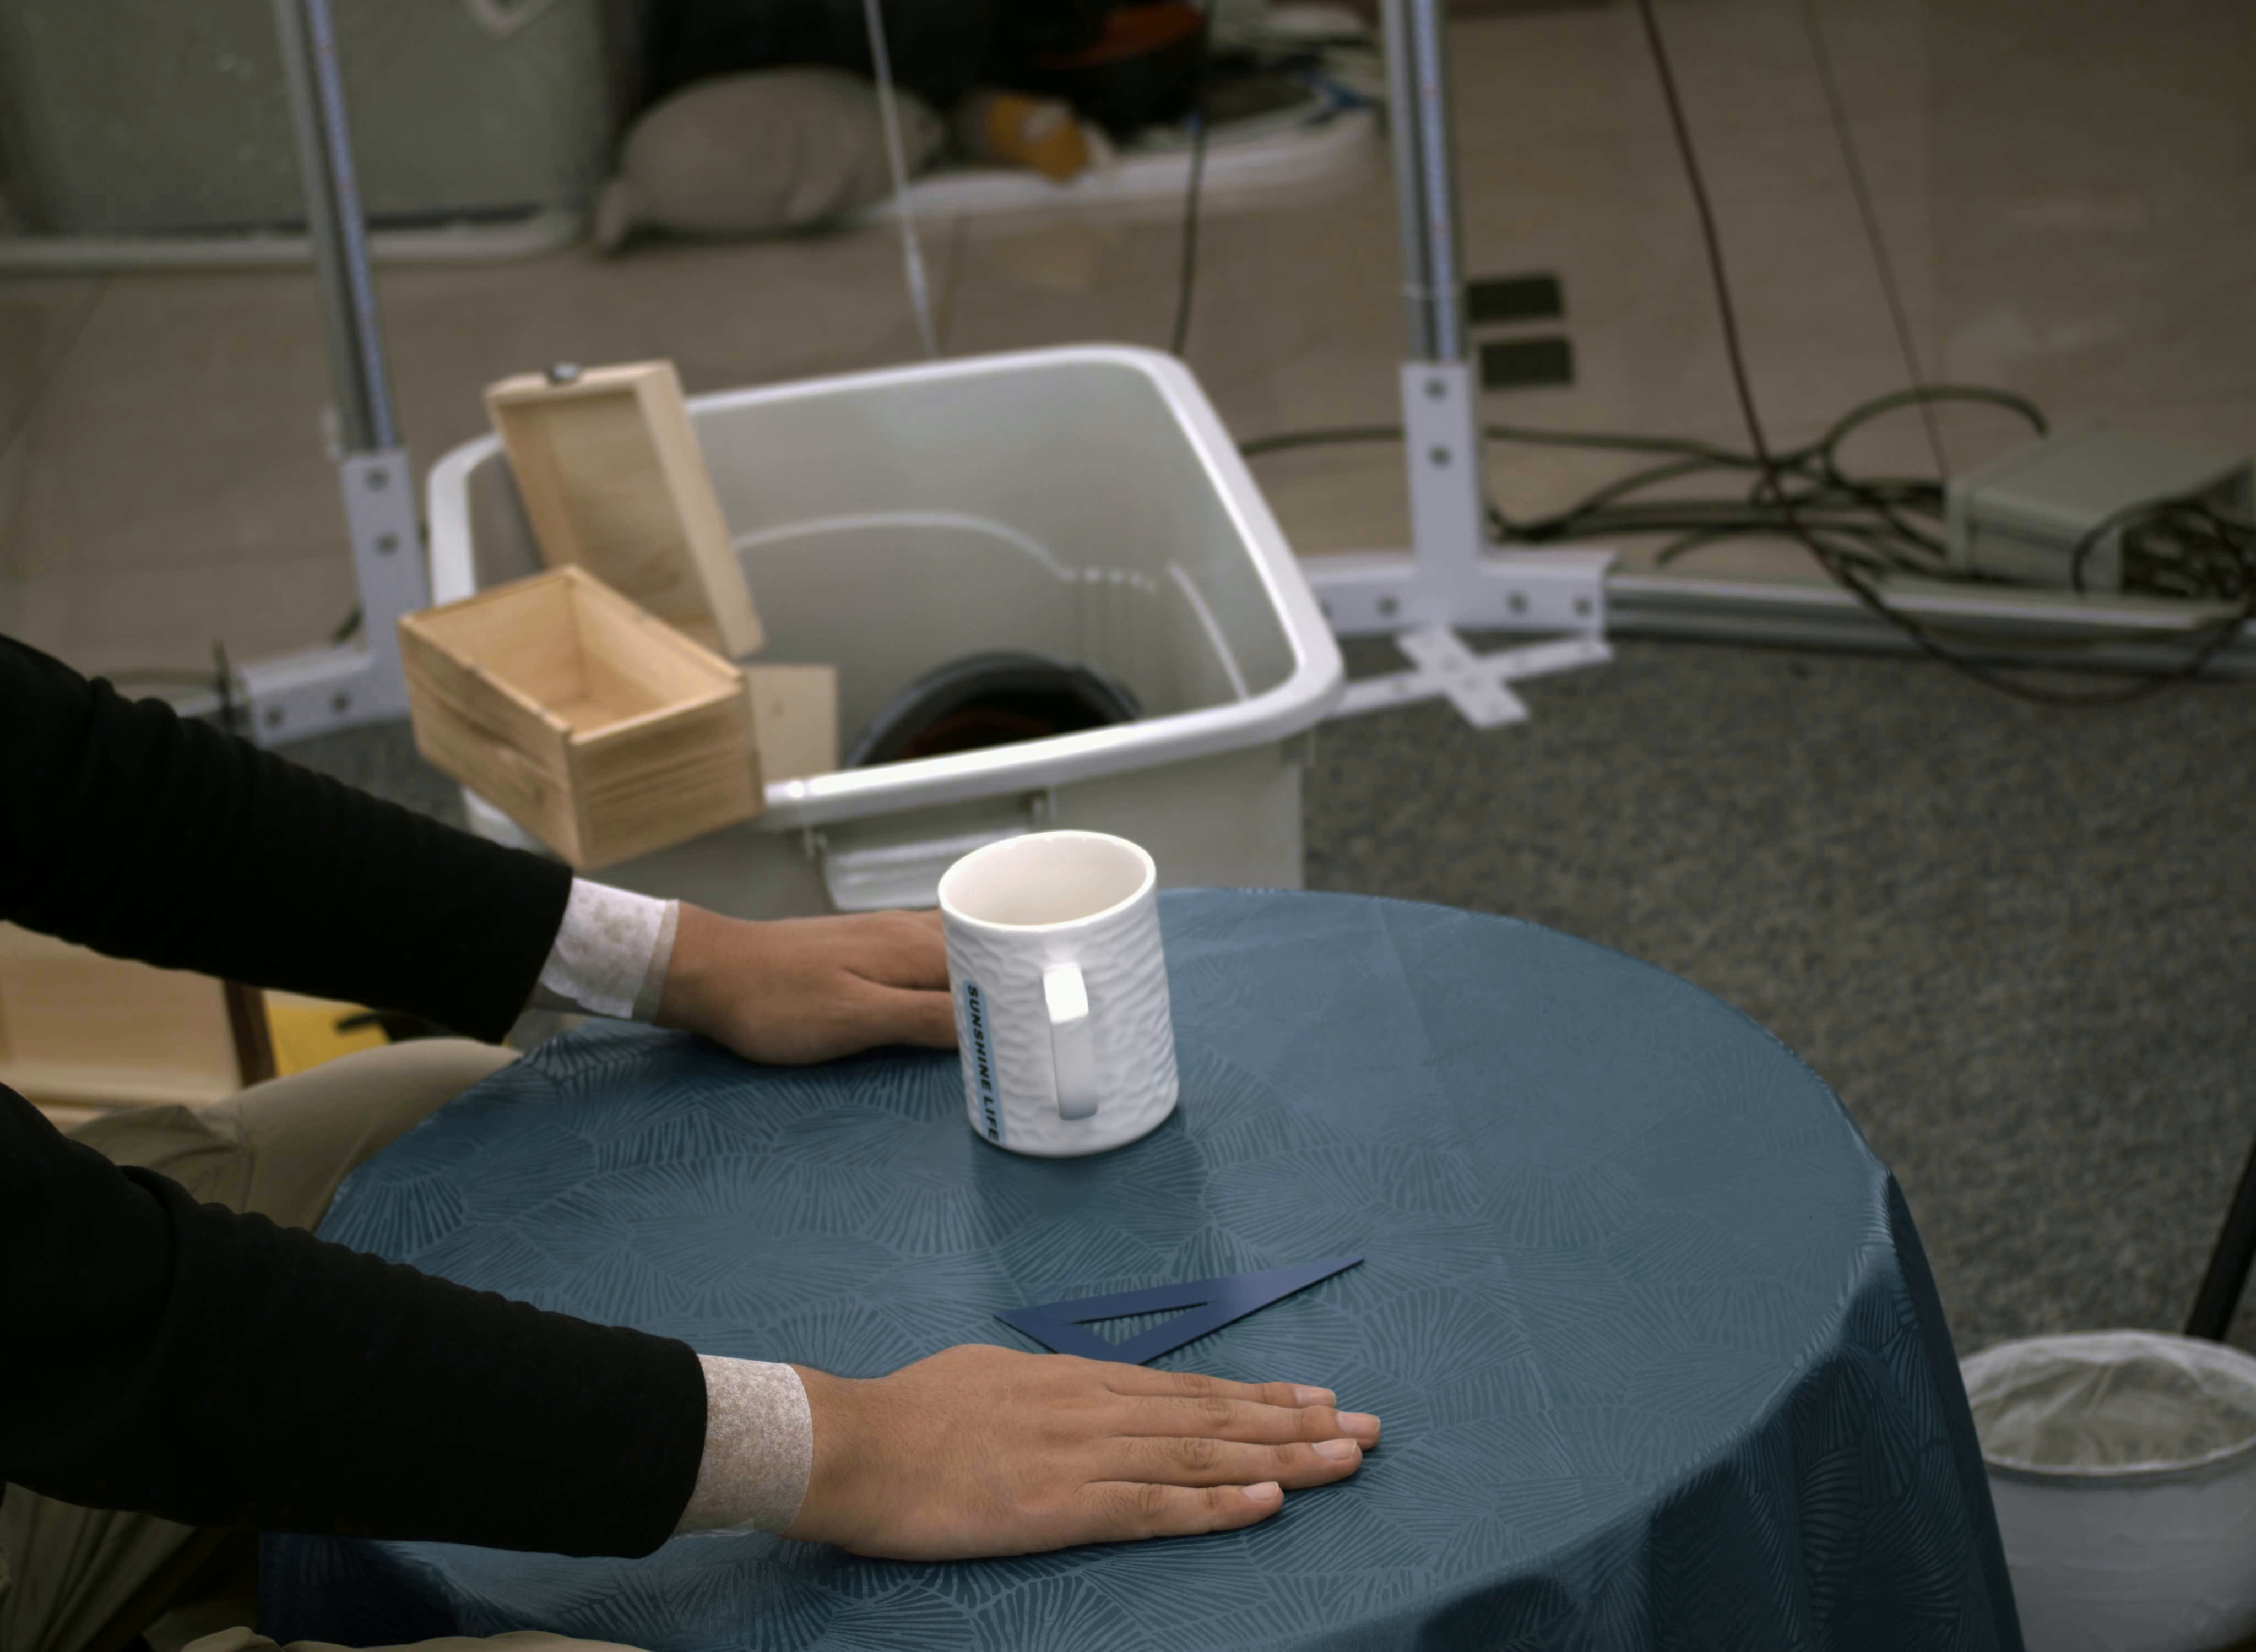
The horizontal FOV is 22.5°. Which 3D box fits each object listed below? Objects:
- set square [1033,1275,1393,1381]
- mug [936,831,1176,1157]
[{"bbox_3d":[0.031,0.181,2.046,0.132,0.006,0.060,-6,23,0],"label":"set square"},{"bbox_3d":[-0.025,0.072,2.175,0.085,0.103,0.116,-7,25,-2],"label":"mug"}]
